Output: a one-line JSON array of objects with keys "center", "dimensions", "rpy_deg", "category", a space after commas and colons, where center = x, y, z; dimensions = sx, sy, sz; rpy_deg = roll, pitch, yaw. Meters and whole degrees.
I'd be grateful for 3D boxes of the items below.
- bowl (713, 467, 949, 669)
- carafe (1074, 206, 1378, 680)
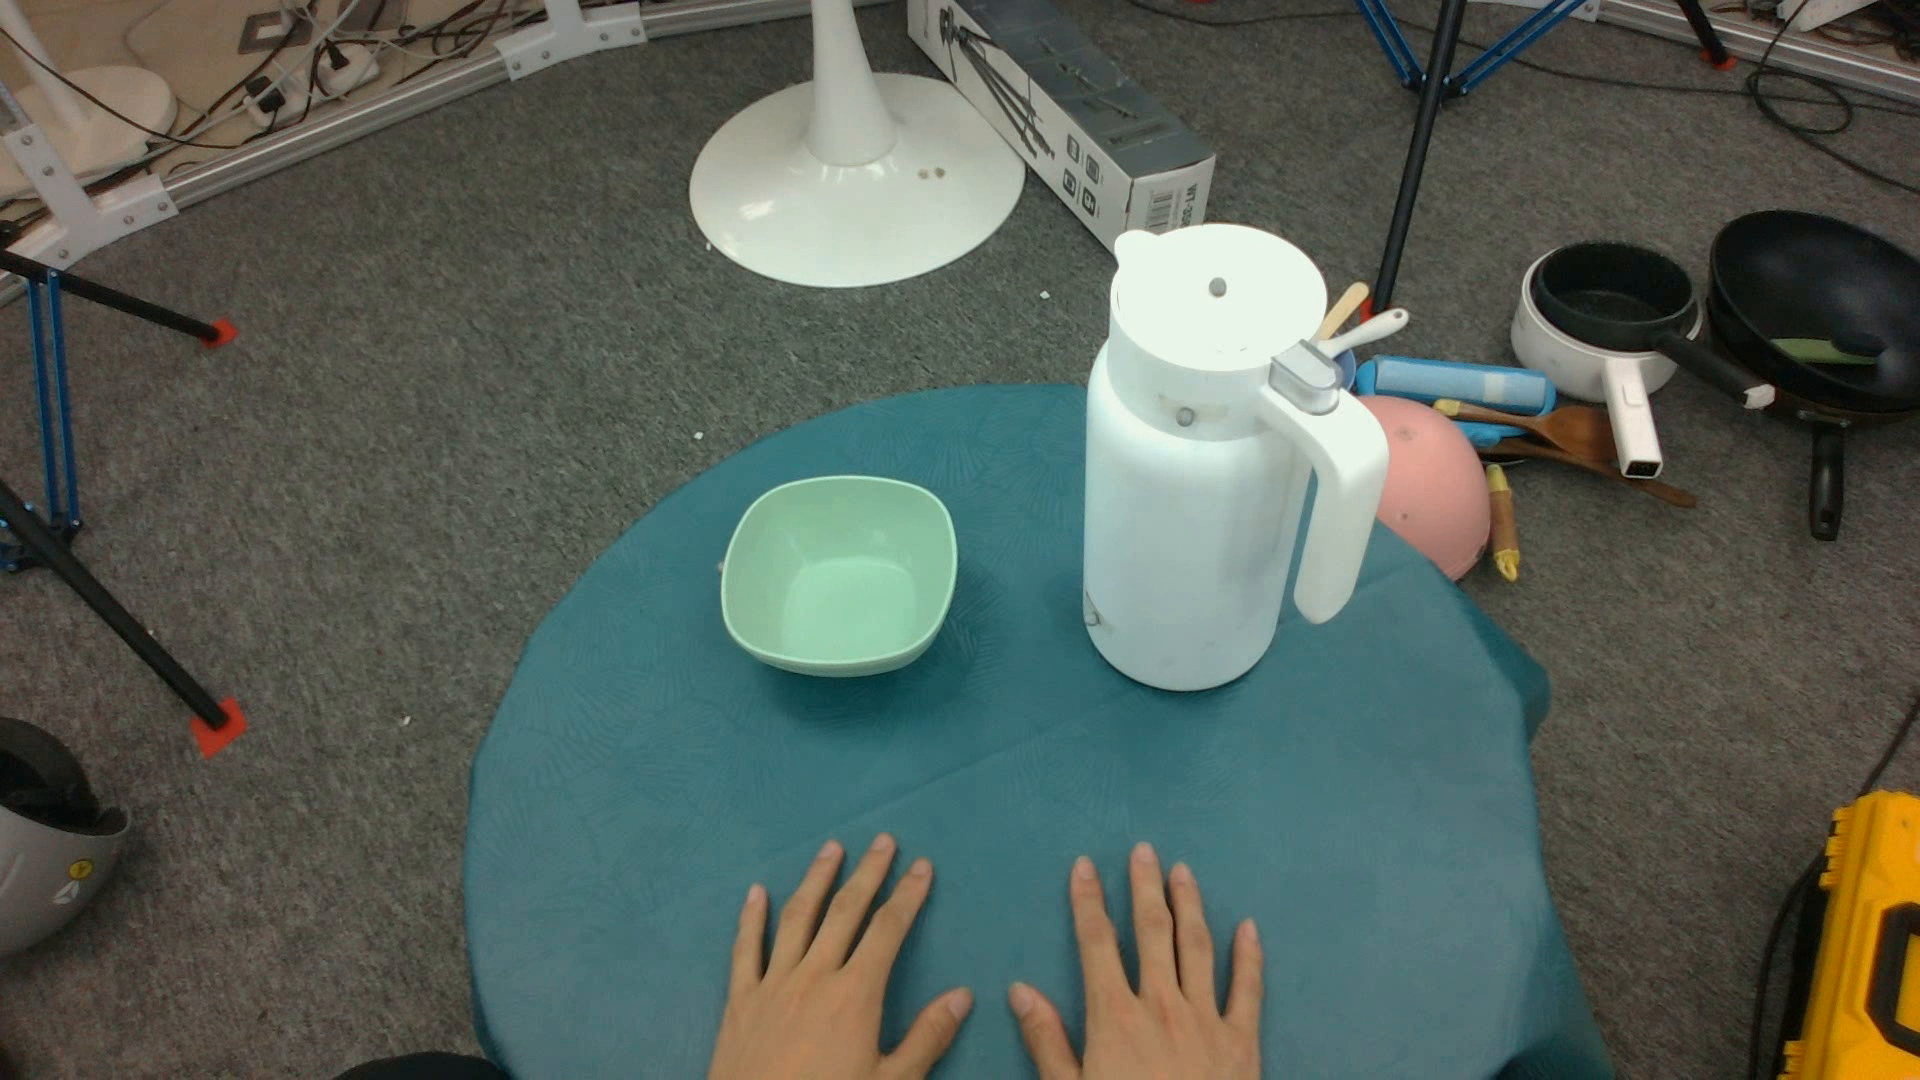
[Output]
[{"center": [-0.074, 0.026, 0.830], "dimensions": [0.151, 0.058, 0.152], "rpy_deg": [-2, 53, 2], "category": "bowl"}, {"center": [0.132, -0.031, 0.729], "dimensions": [0.124, 0.267, 0.173], "rpy_deg": [-31, 57, -21], "category": "carafe"}]
